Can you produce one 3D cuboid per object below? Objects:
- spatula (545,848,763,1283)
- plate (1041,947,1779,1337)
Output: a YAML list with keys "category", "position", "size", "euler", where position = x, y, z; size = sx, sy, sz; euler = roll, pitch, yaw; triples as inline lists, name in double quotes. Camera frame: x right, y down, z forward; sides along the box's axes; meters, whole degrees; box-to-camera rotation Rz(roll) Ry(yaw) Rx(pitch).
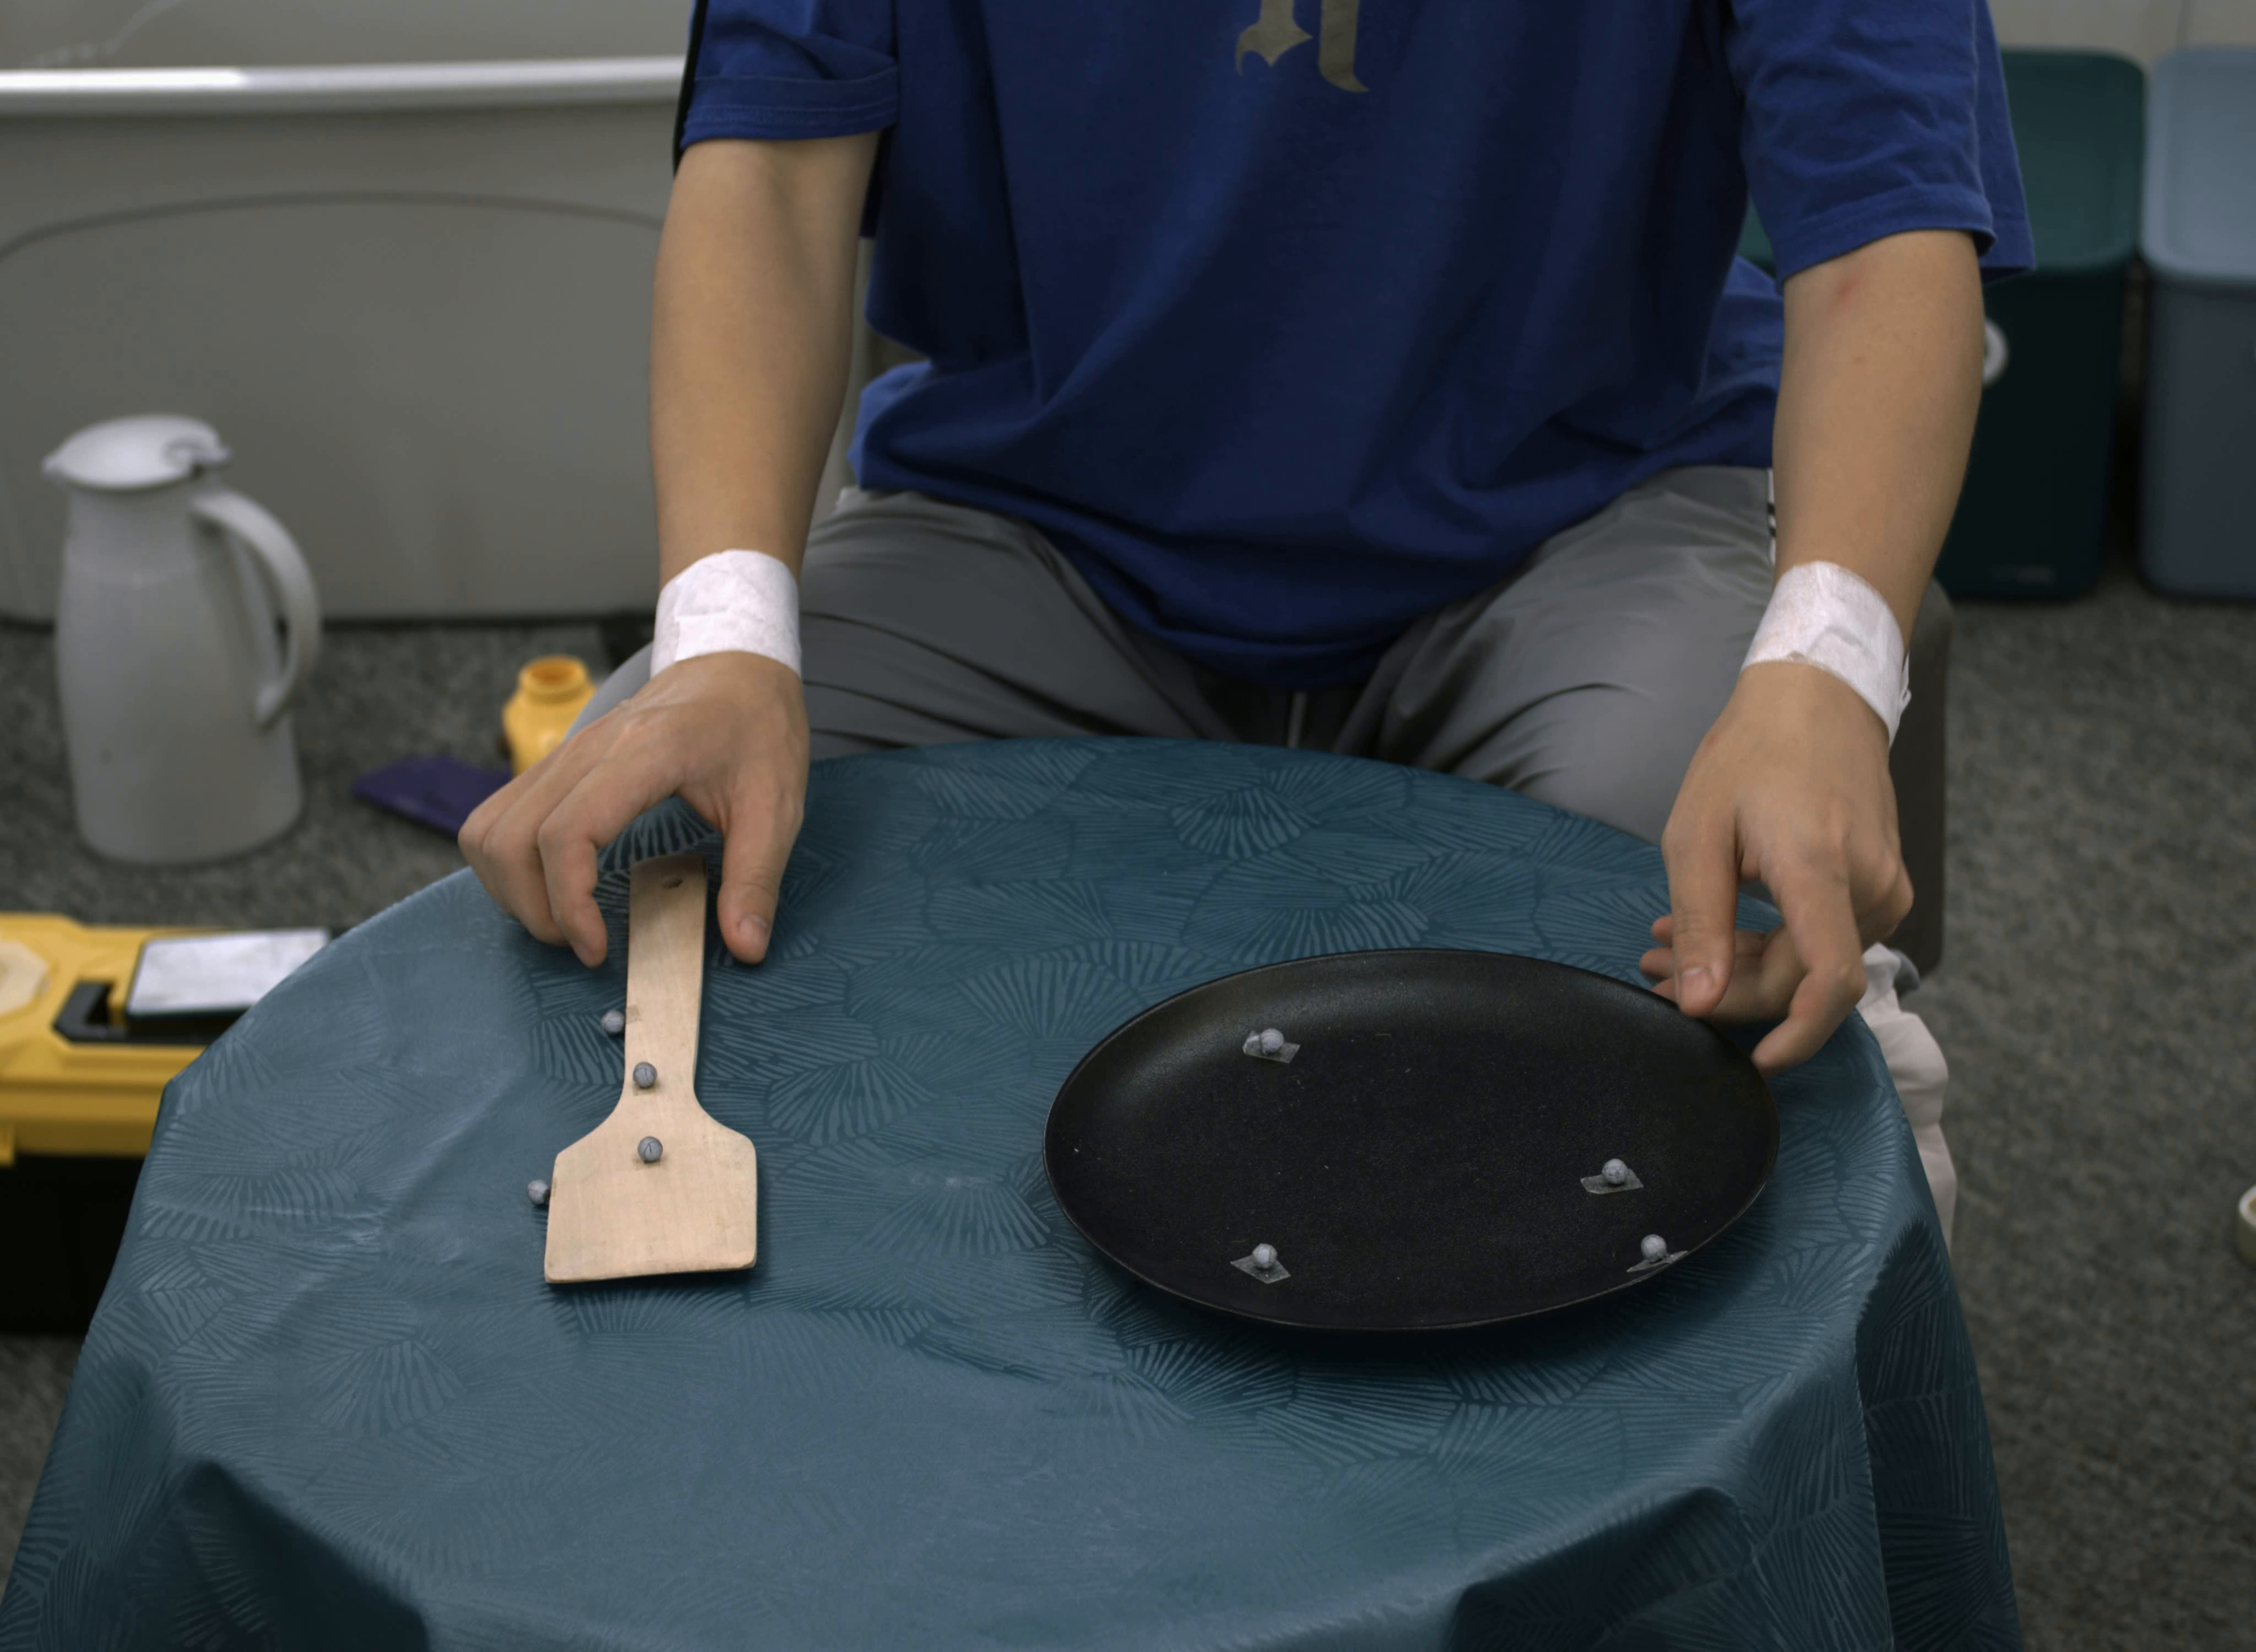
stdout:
- category: "spatula"
  position: [-0.162, 0.079, 1.948]
  size: [0.072, 0.010, 0.297]
  euler: [-5, 28, -1]
- category: "plate"
  position: [0.092, 0.108, 1.853]
  size: [0.243, 0.023, 0.248]
  euler: [-2, 27, 2]
